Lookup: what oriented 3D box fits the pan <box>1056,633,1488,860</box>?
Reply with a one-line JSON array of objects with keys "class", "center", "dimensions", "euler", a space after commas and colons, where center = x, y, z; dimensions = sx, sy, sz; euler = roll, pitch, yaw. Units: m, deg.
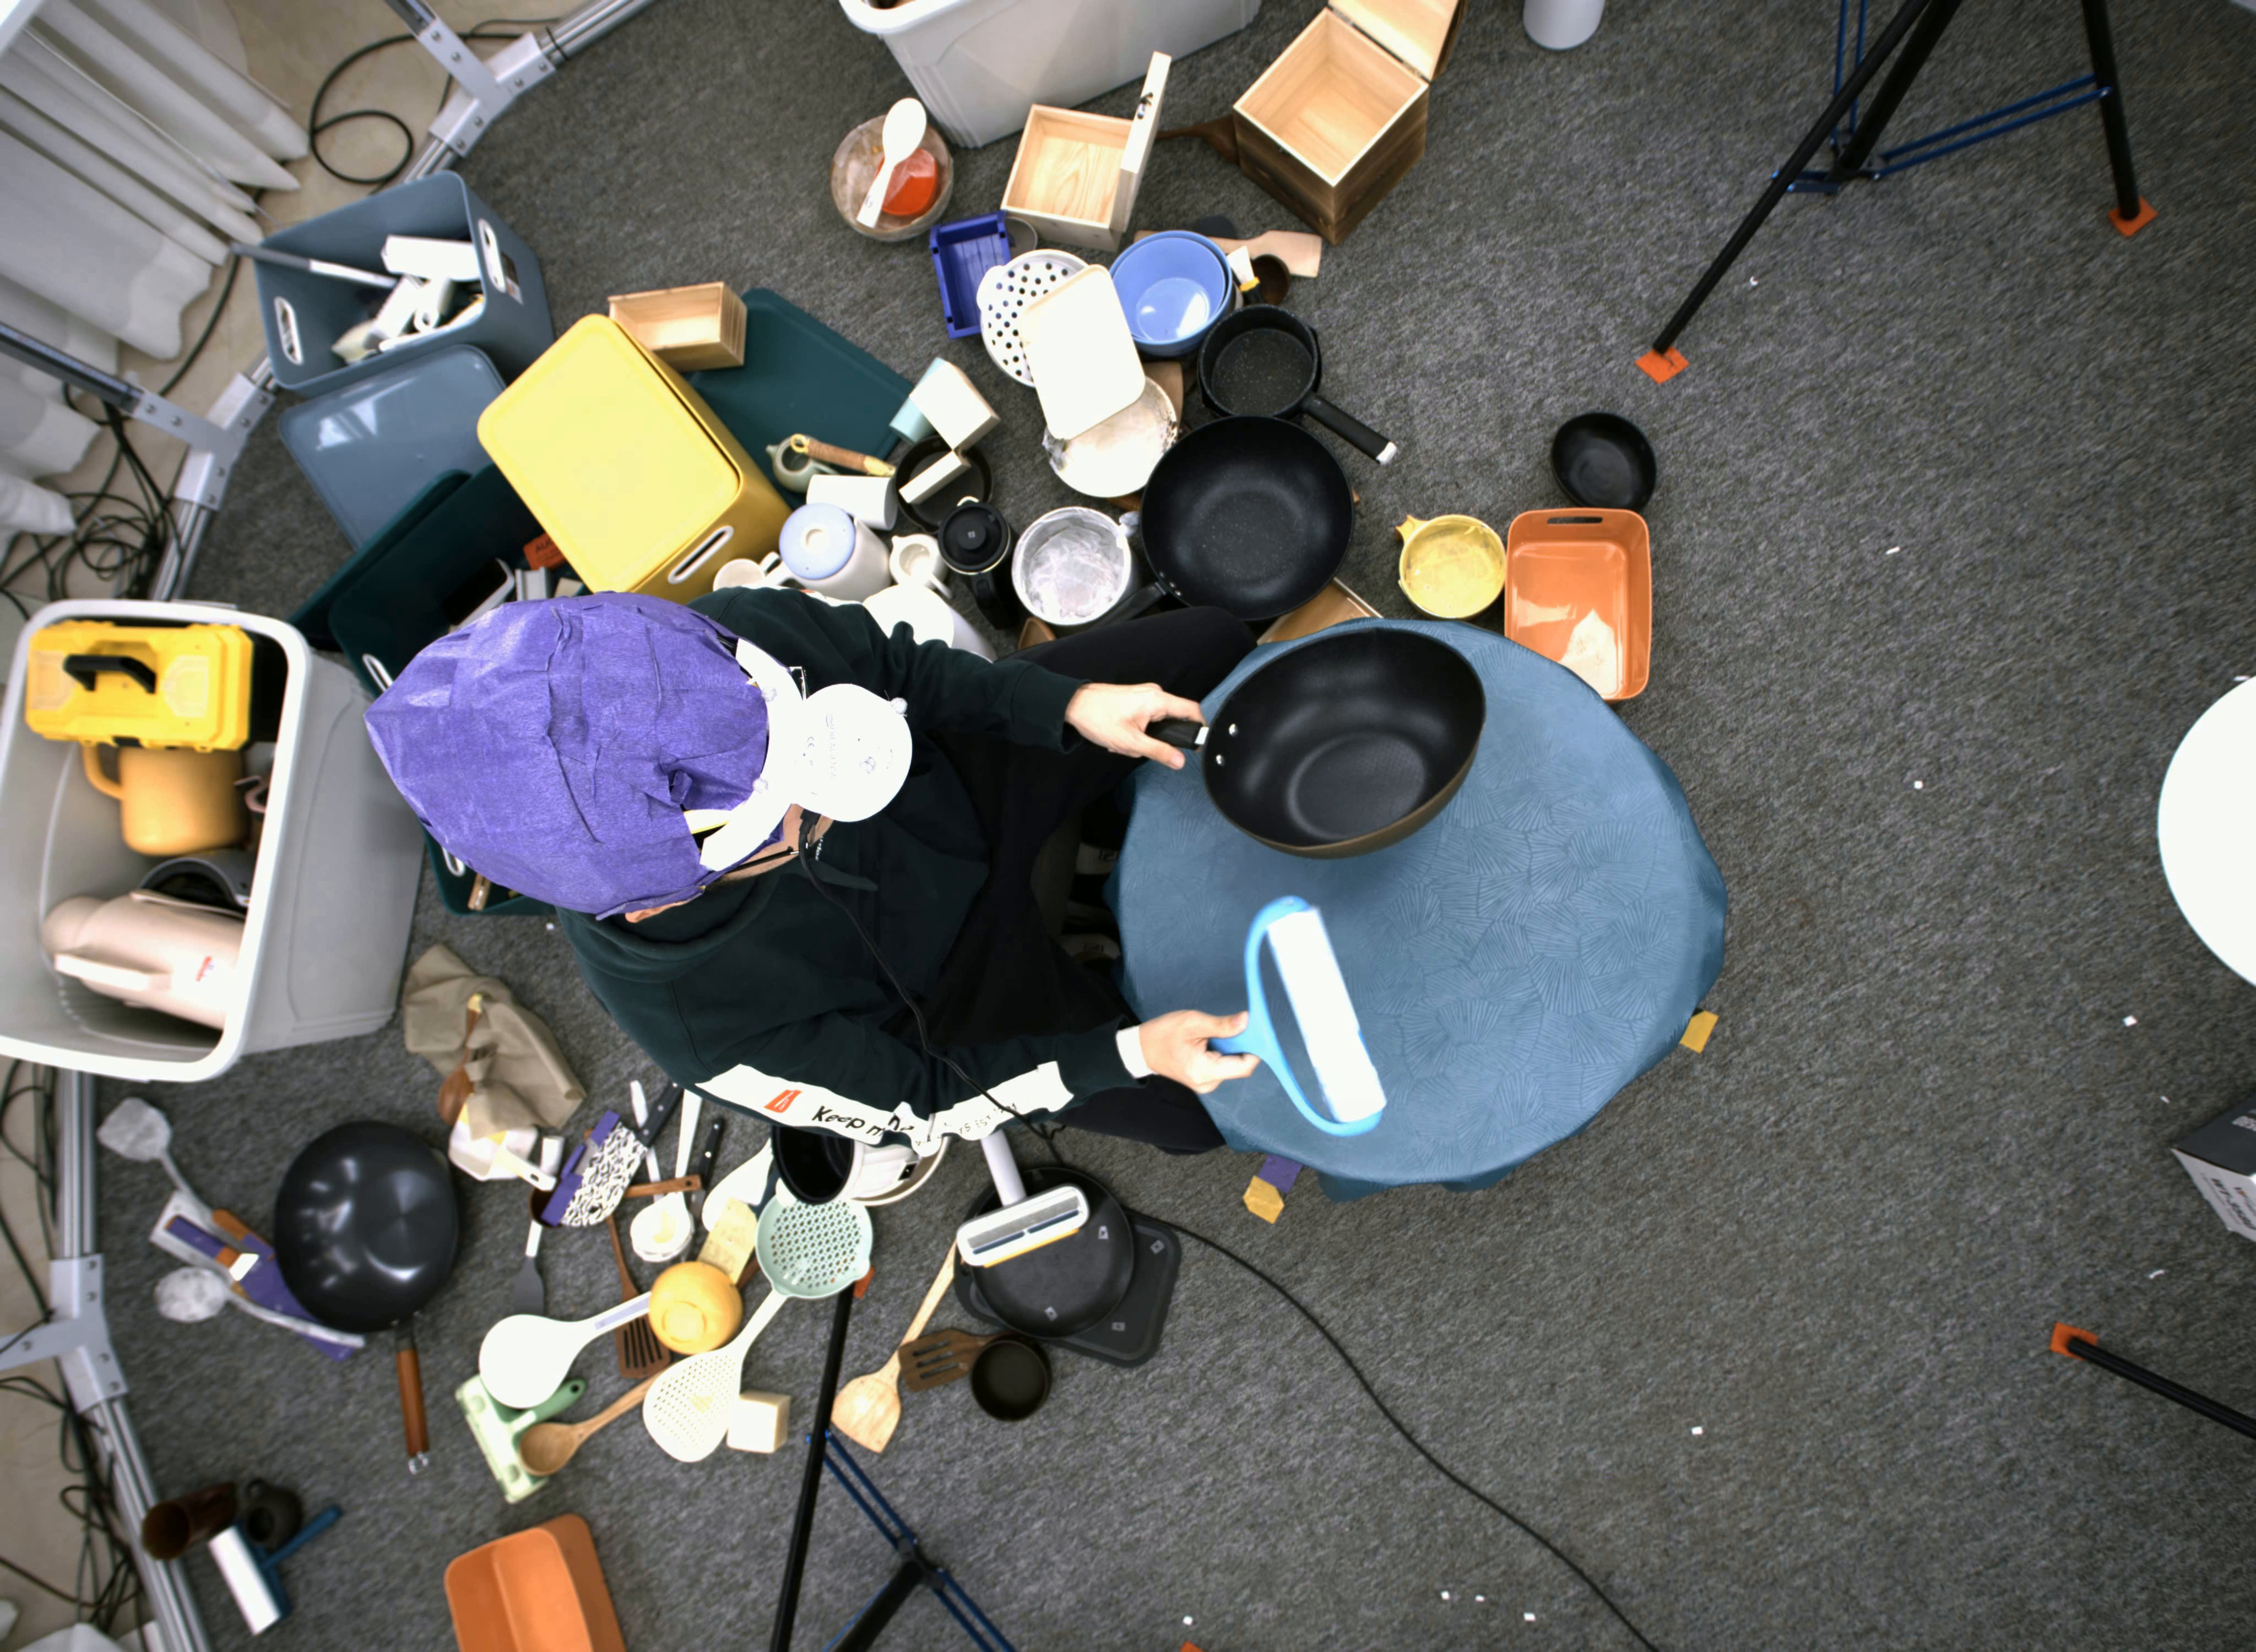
[{"class": "pan", "center": [0.133, -0.070, 1.372], "dimensions": [0.466, 0.088, 0.281], "euler": [3, 51, 31]}]

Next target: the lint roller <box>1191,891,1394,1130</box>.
[{"class": "lint roller", "center": [0.130, 0.190, 1.283], "dimensions": [0.183, 0.067, 0.229], "euler": [-26, 91, 25]}]
